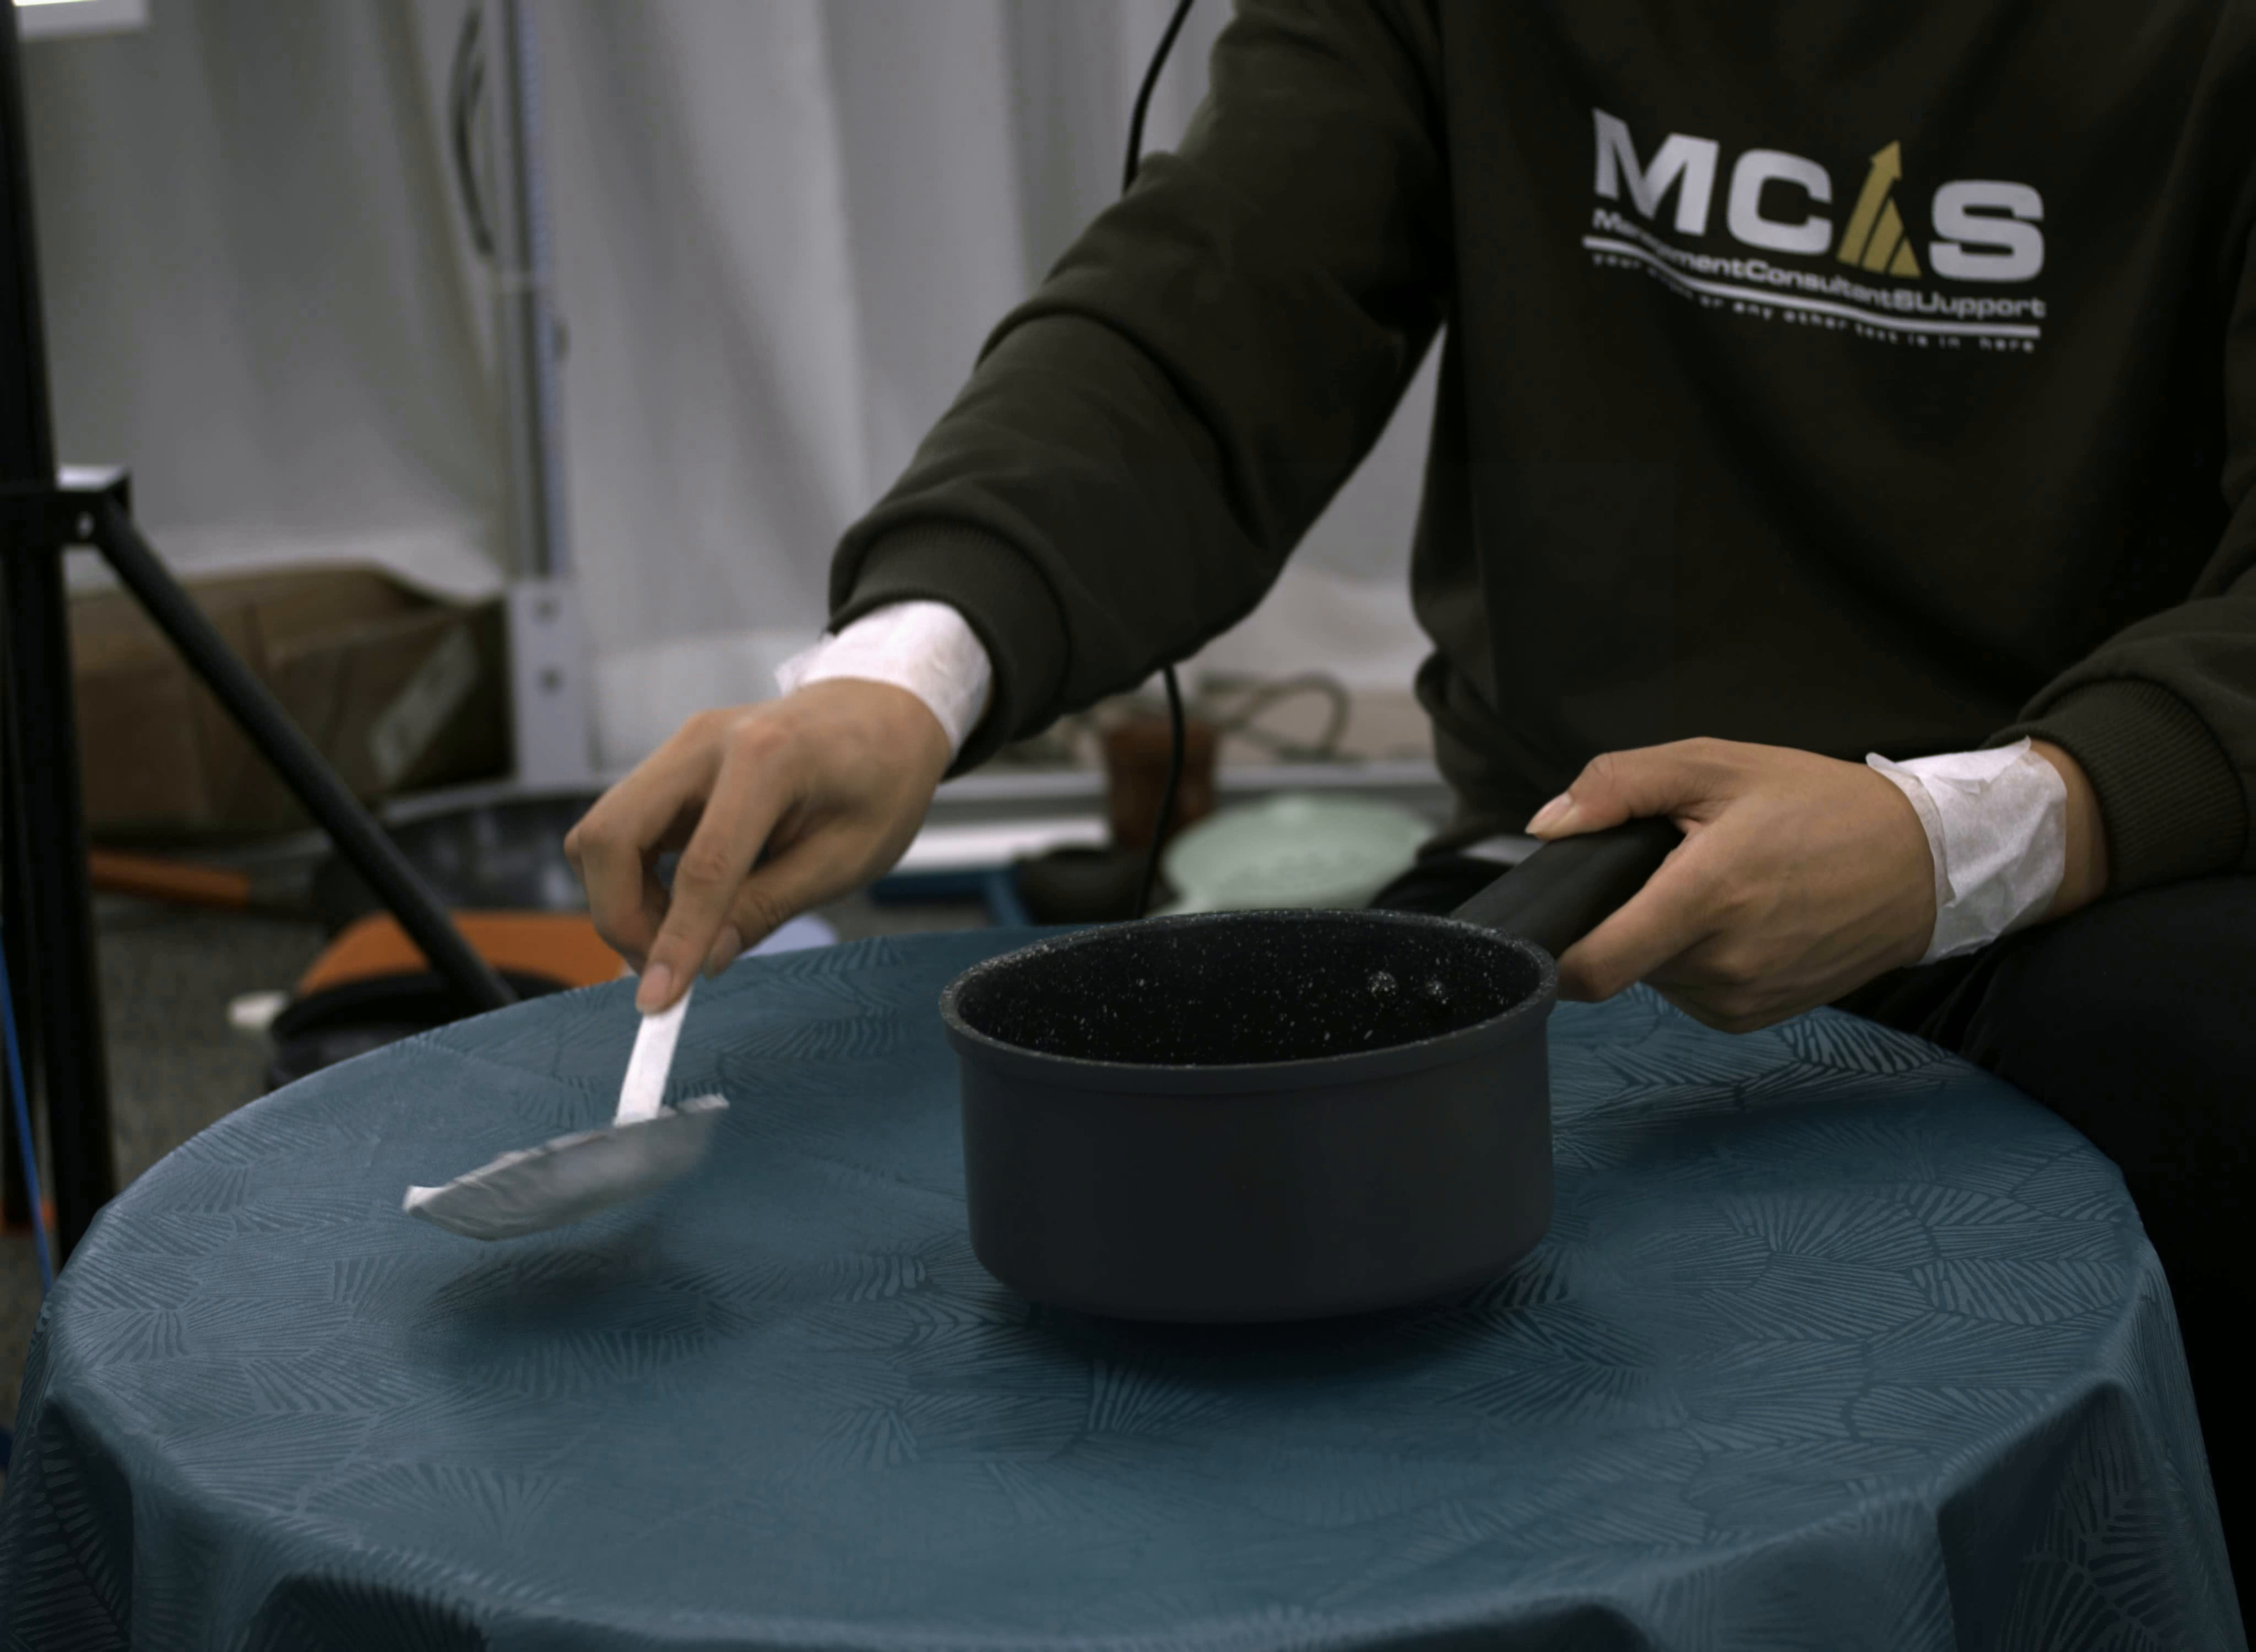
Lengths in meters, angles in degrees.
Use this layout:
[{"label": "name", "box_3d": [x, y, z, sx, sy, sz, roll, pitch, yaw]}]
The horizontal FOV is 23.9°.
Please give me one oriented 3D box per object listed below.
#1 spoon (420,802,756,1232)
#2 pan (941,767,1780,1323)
[{"label": "spoon", "box_3d": [-0.142, 0.043, 1.586, 0.101, 0.059, 0.278, -16, 28, 14]}, {"label": "pan", "box_3d": [0.085, 0.059, 1.521, 0.176, 0.086, 0.321, 8, 19, 40]}]
